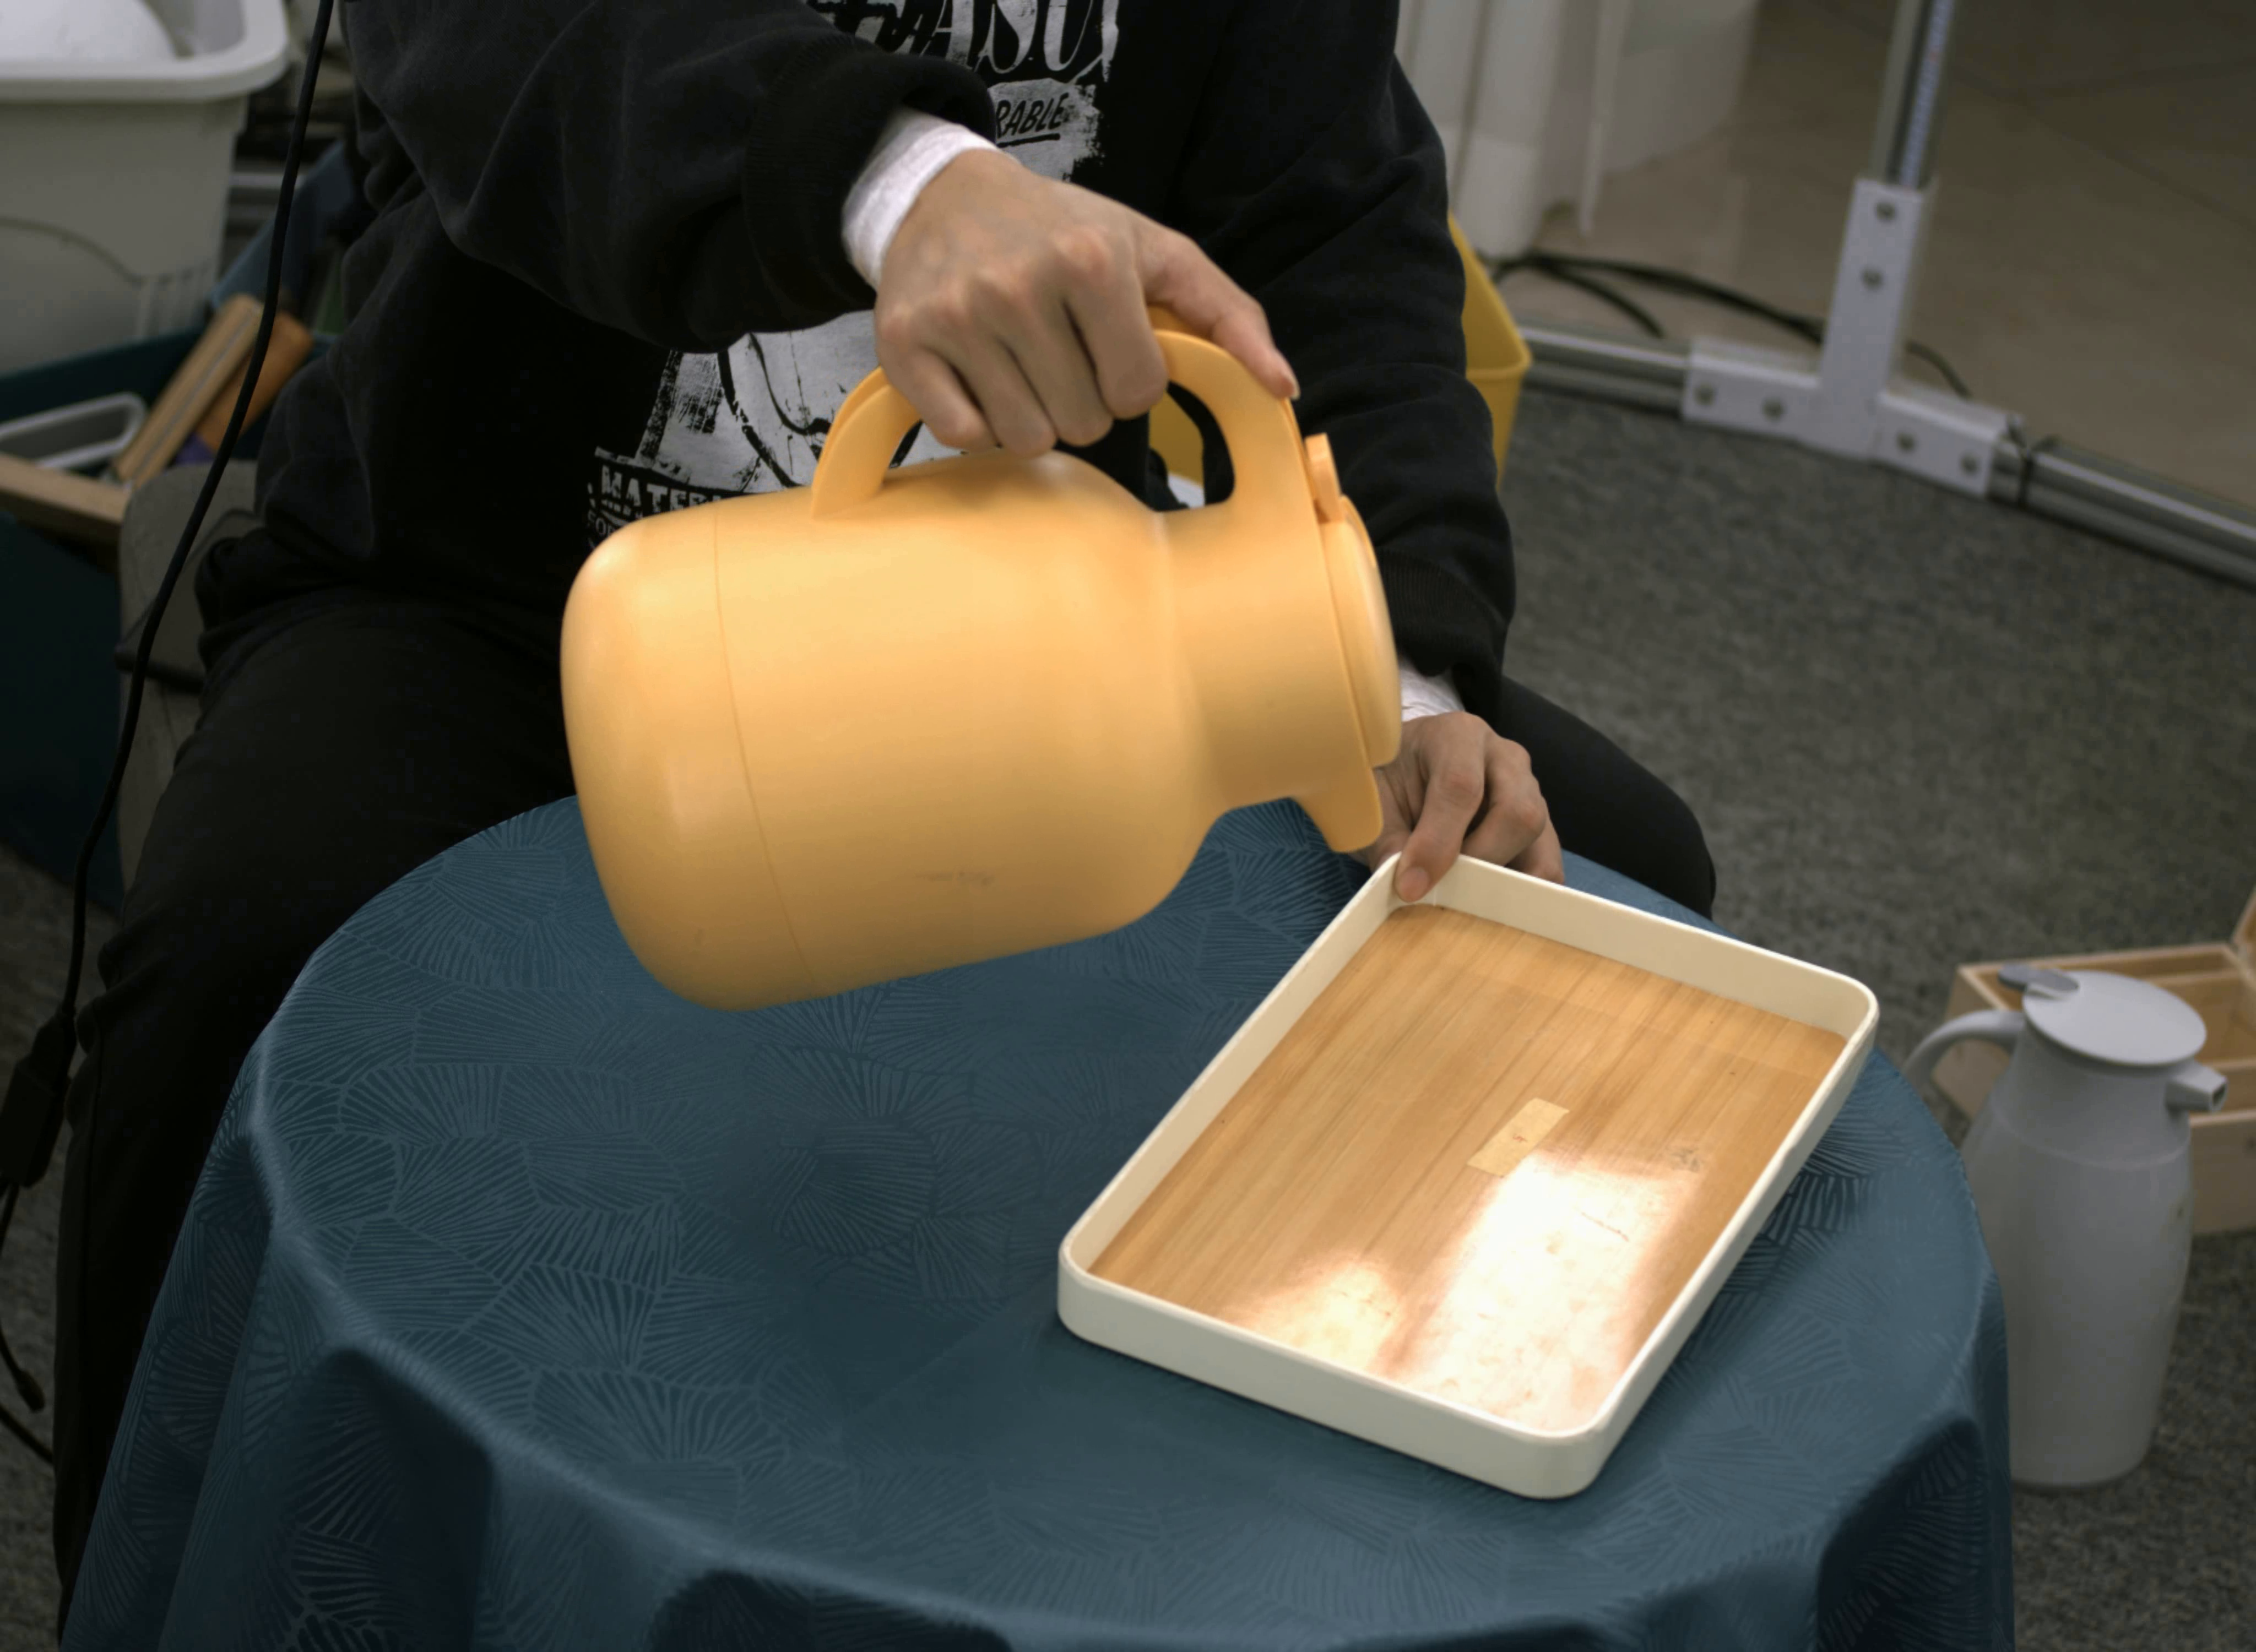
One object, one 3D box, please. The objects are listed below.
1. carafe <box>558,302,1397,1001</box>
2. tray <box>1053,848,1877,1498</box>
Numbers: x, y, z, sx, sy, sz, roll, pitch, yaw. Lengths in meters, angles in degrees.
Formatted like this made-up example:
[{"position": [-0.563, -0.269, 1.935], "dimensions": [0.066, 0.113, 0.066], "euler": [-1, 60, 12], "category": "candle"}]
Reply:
[{"position": [-0.049, -0.059, 1.699], "dimensions": [0.260, 0.202, 0.164], "euler": [-11, 21, 3], "category": "carafe"}, {"position": [0.119, 0.110, 1.798], "dimensions": [0.192, 0.027, 0.300], "euler": [18, 34, 20], "category": "tray"}]
